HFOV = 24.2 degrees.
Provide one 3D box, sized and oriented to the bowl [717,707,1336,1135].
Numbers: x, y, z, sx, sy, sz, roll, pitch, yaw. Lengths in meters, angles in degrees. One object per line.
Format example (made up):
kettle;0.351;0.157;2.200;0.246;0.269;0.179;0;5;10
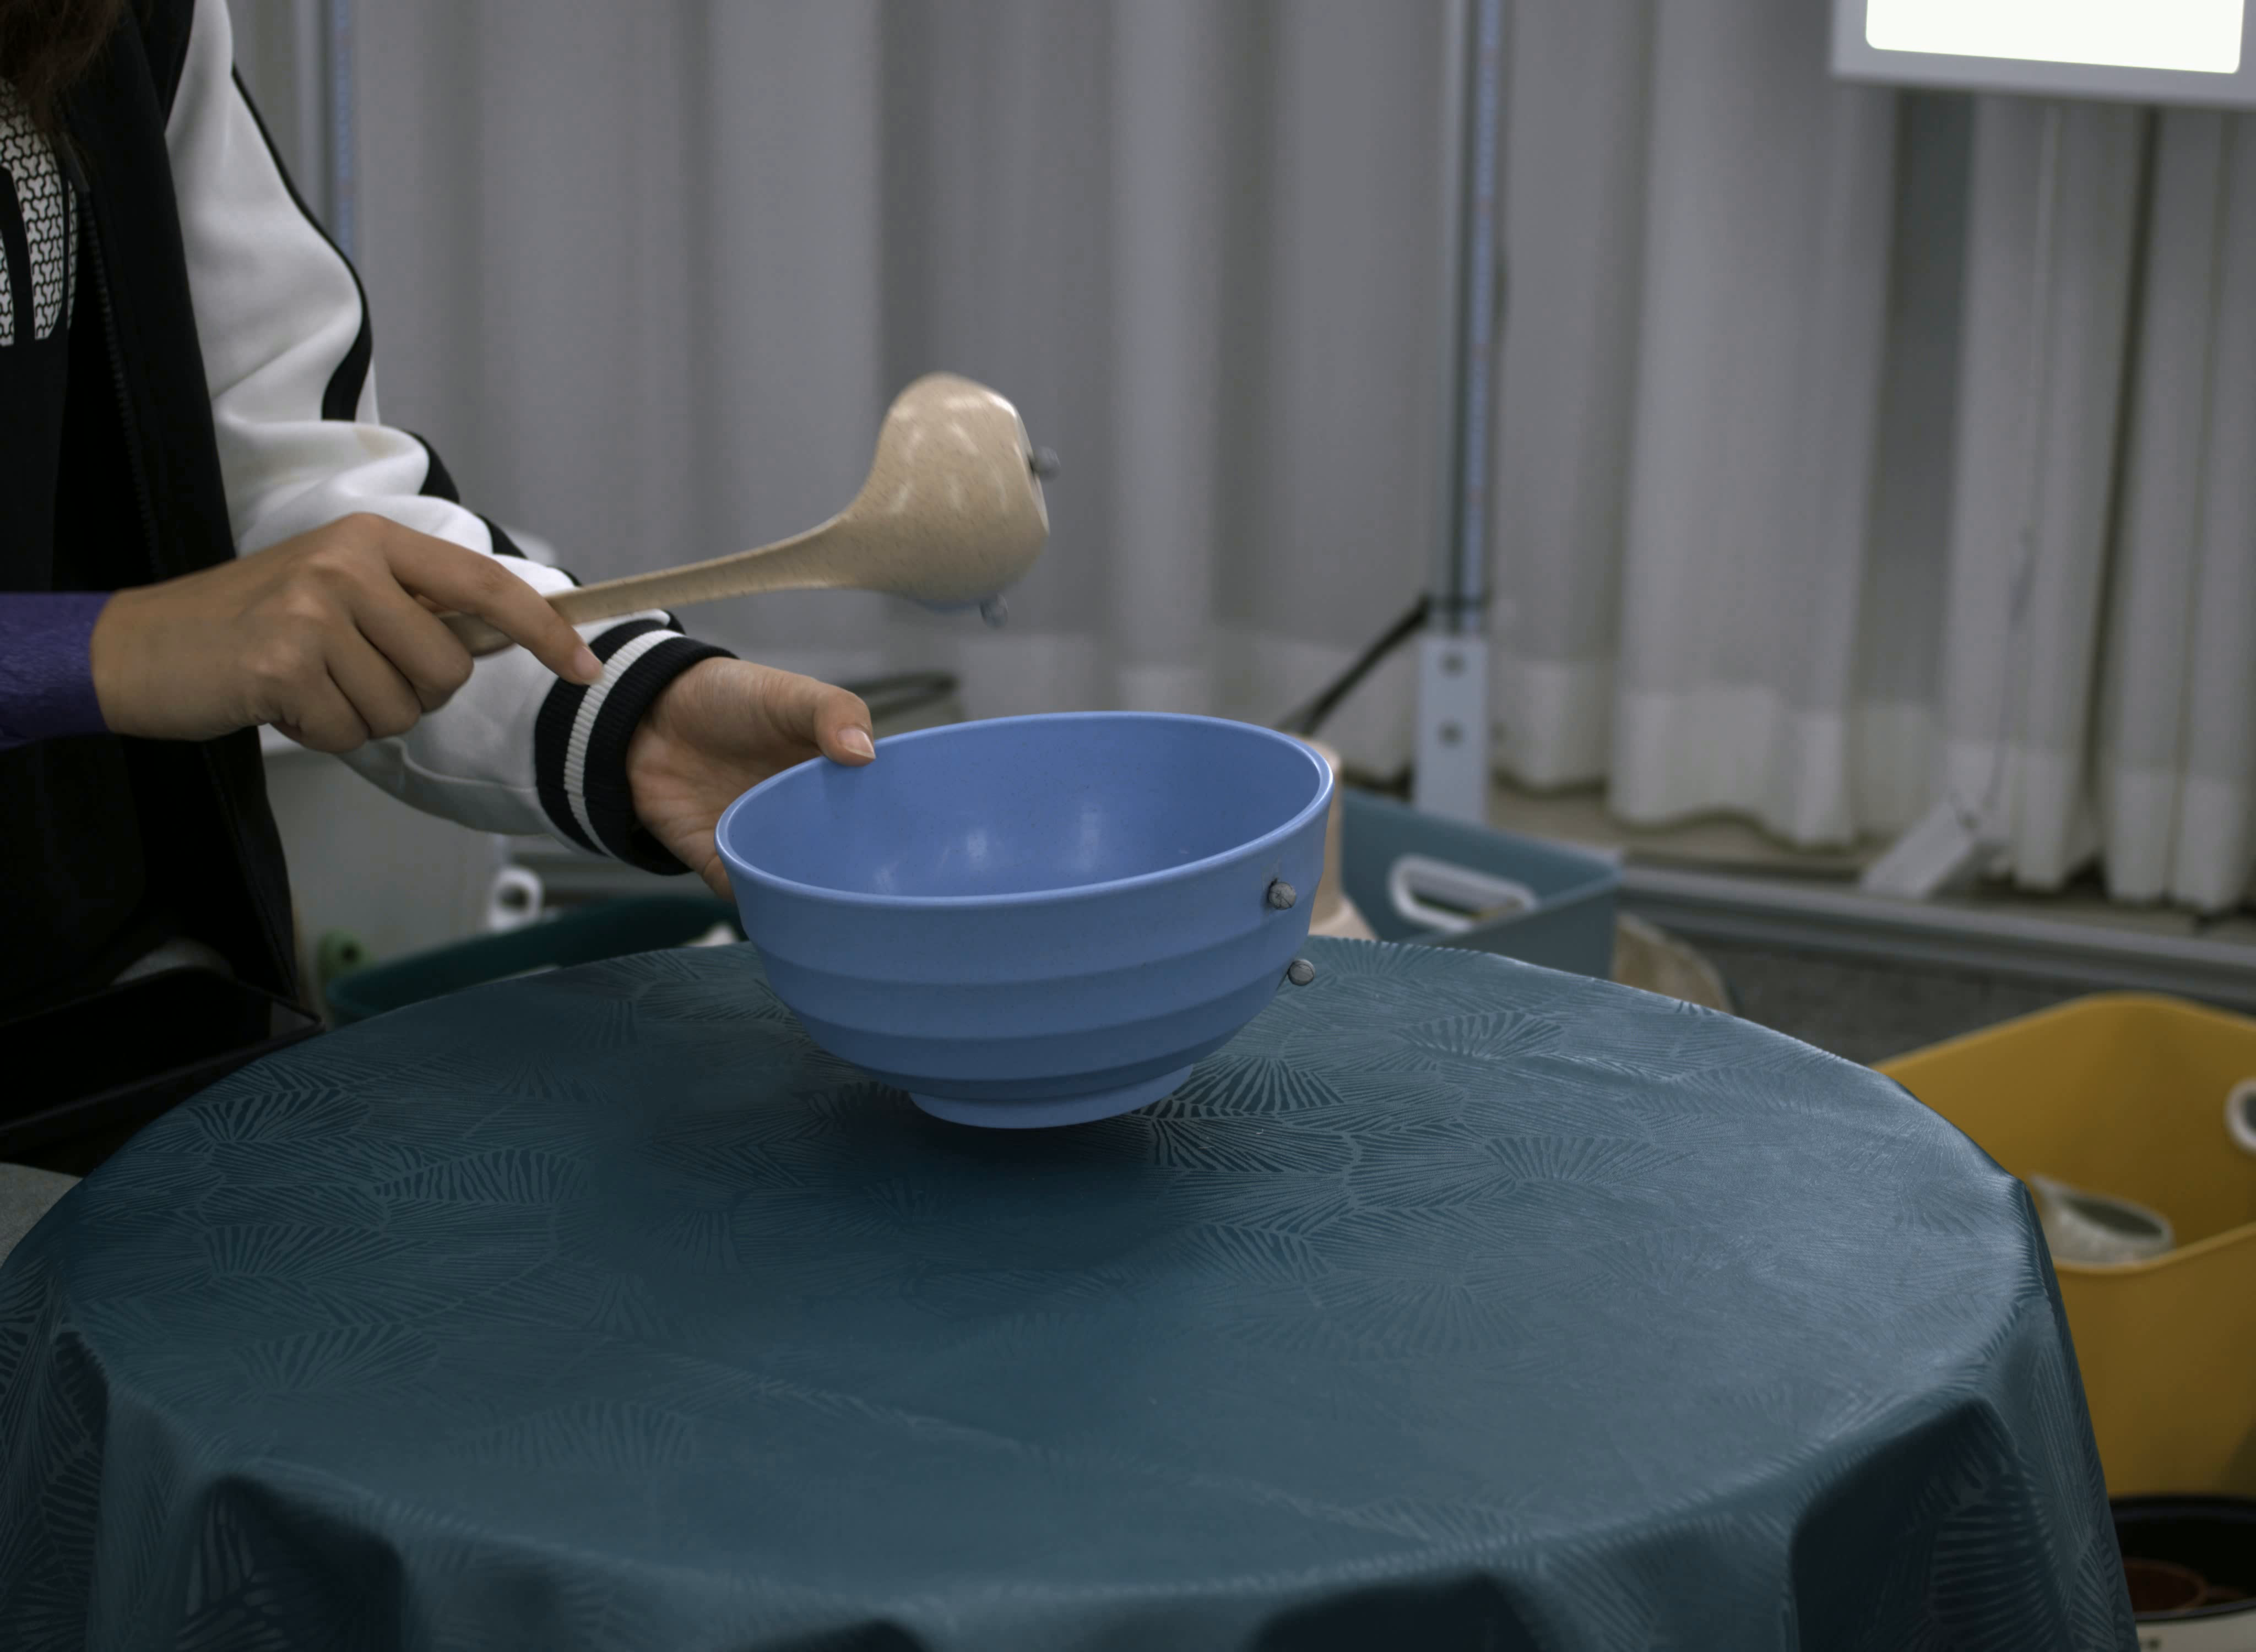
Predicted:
bowl;-0.027;0.037;1.671;0.196;0.096;0.195;-5;19;2

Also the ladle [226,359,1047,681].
ladle;-0.151;-0.088;1.623;0.253;0.073;0.072;-10;27;10
